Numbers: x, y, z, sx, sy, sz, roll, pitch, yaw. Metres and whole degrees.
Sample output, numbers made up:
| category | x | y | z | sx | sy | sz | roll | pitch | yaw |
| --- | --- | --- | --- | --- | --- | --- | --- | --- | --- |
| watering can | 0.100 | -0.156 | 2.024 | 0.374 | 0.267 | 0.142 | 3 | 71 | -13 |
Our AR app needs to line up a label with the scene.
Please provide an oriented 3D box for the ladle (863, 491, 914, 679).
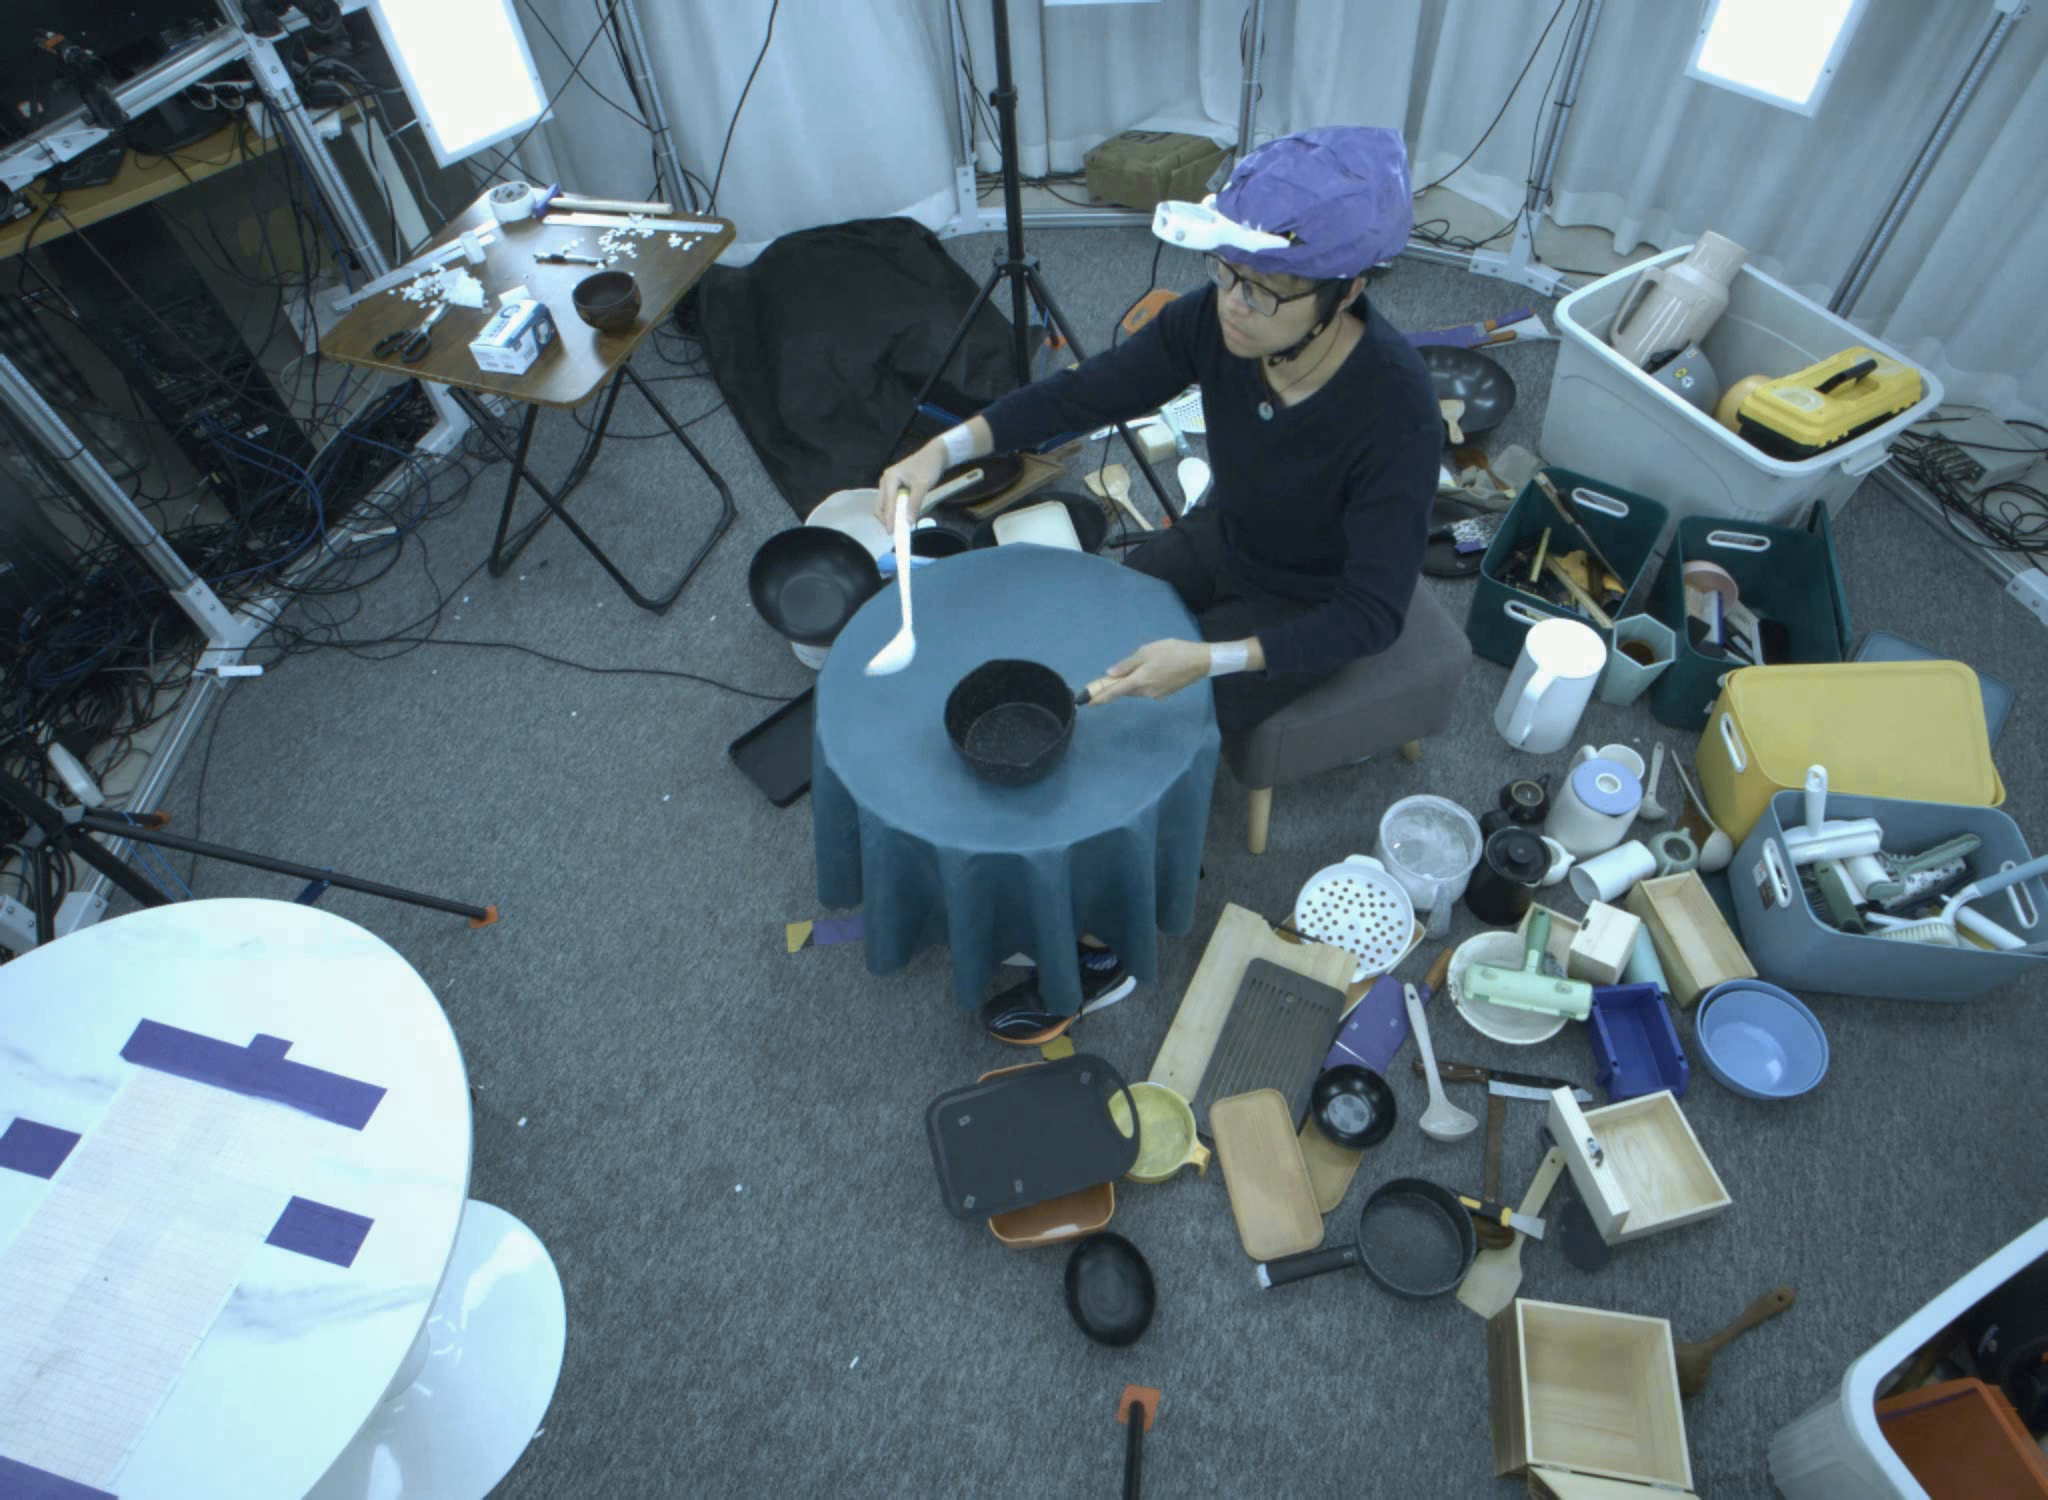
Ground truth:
| category | x | y | z | sx | sy | sz | roll | pitch | yaw |
| --- | --- | --- | --- | --- | --- | --- | --- | --- | --- |
| ladle | -0.191 | -0.238 | 1.730 | 0.071 | 0.089 | 0.291 | 7 | 72 | -28 |

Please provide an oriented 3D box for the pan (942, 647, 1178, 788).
| category | x | y | z | sx | sy | sz | roll | pitch | yaw |
| --- | --- | --- | --- | --- | --- | --- | --- | --- | --- |
| pan | 0.056 | -0.063 | 1.753 | 0.344 | 0.110 | 0.204 | -18 | 55 | -5 |
